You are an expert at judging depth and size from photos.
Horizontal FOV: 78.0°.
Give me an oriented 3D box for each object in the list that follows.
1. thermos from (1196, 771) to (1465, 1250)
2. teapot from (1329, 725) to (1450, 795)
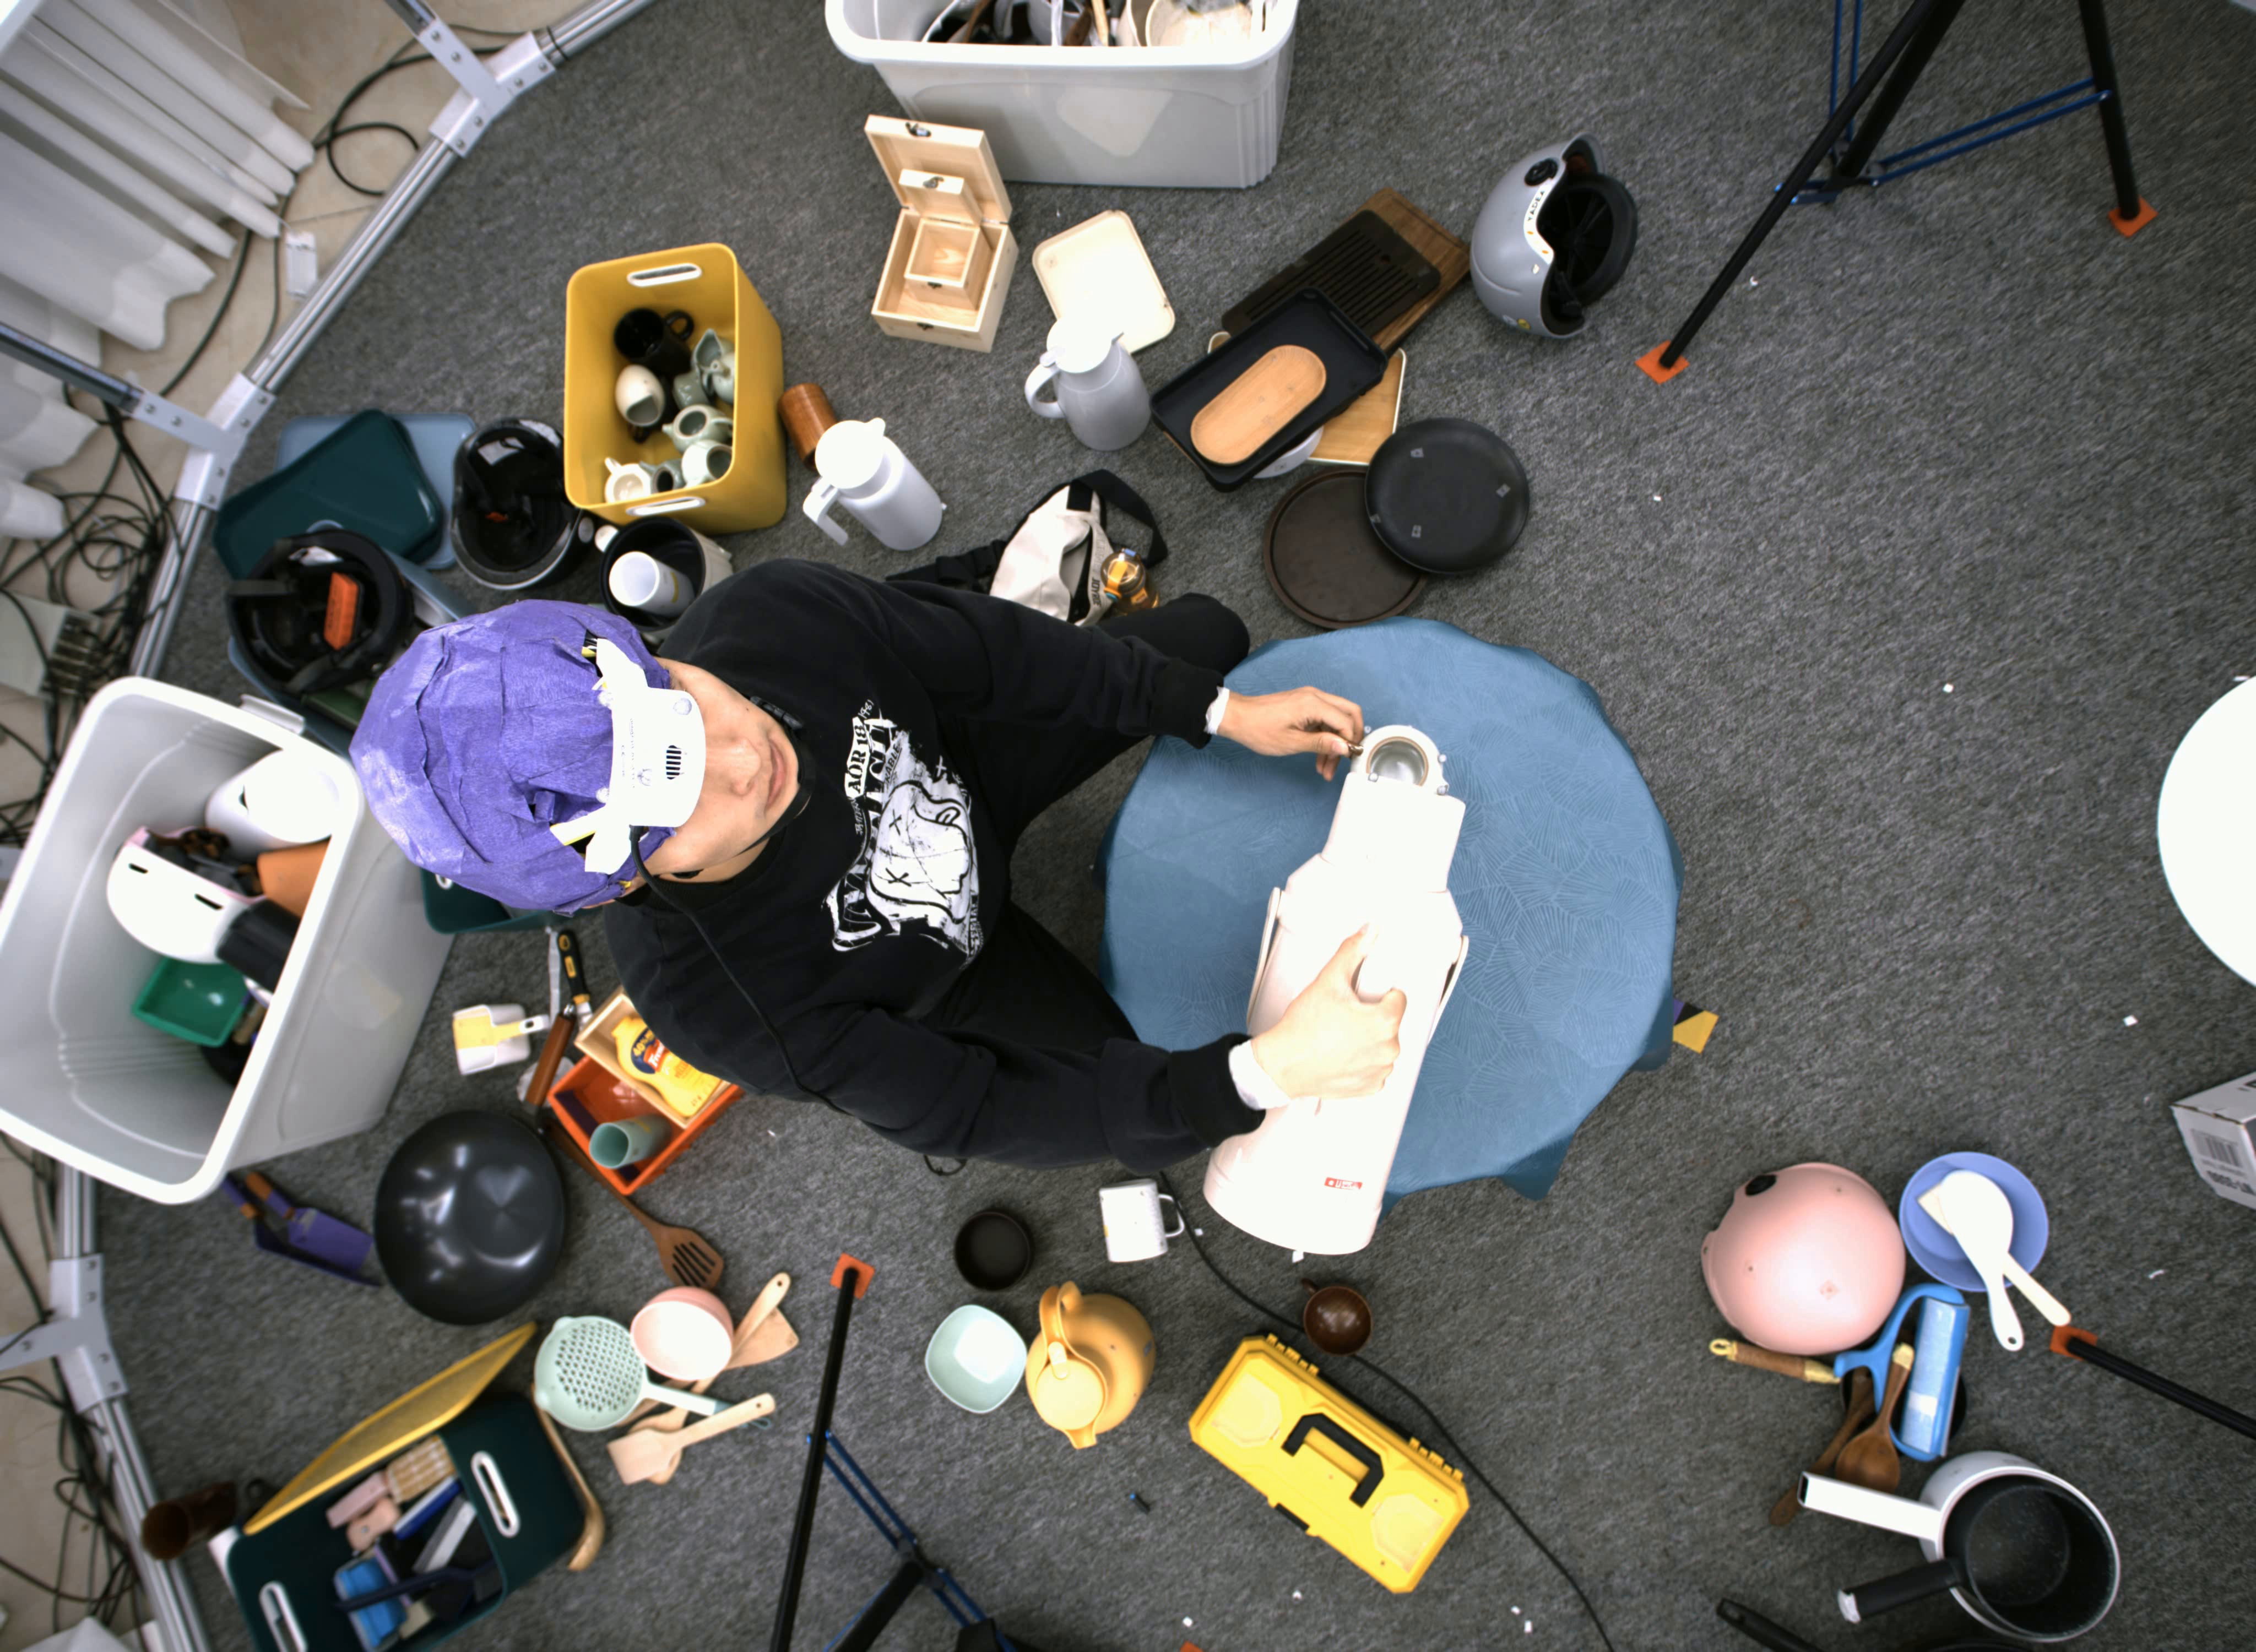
[{"bbox_3d":[0.186,0.160,1.212,0.175,0.205,0.410,16,102,1],"label":"thermos"},{"bbox_3d":[0.260,-0.061,1.376,0.128,0.059,0.092,23,93,10],"label":"teapot"}]
